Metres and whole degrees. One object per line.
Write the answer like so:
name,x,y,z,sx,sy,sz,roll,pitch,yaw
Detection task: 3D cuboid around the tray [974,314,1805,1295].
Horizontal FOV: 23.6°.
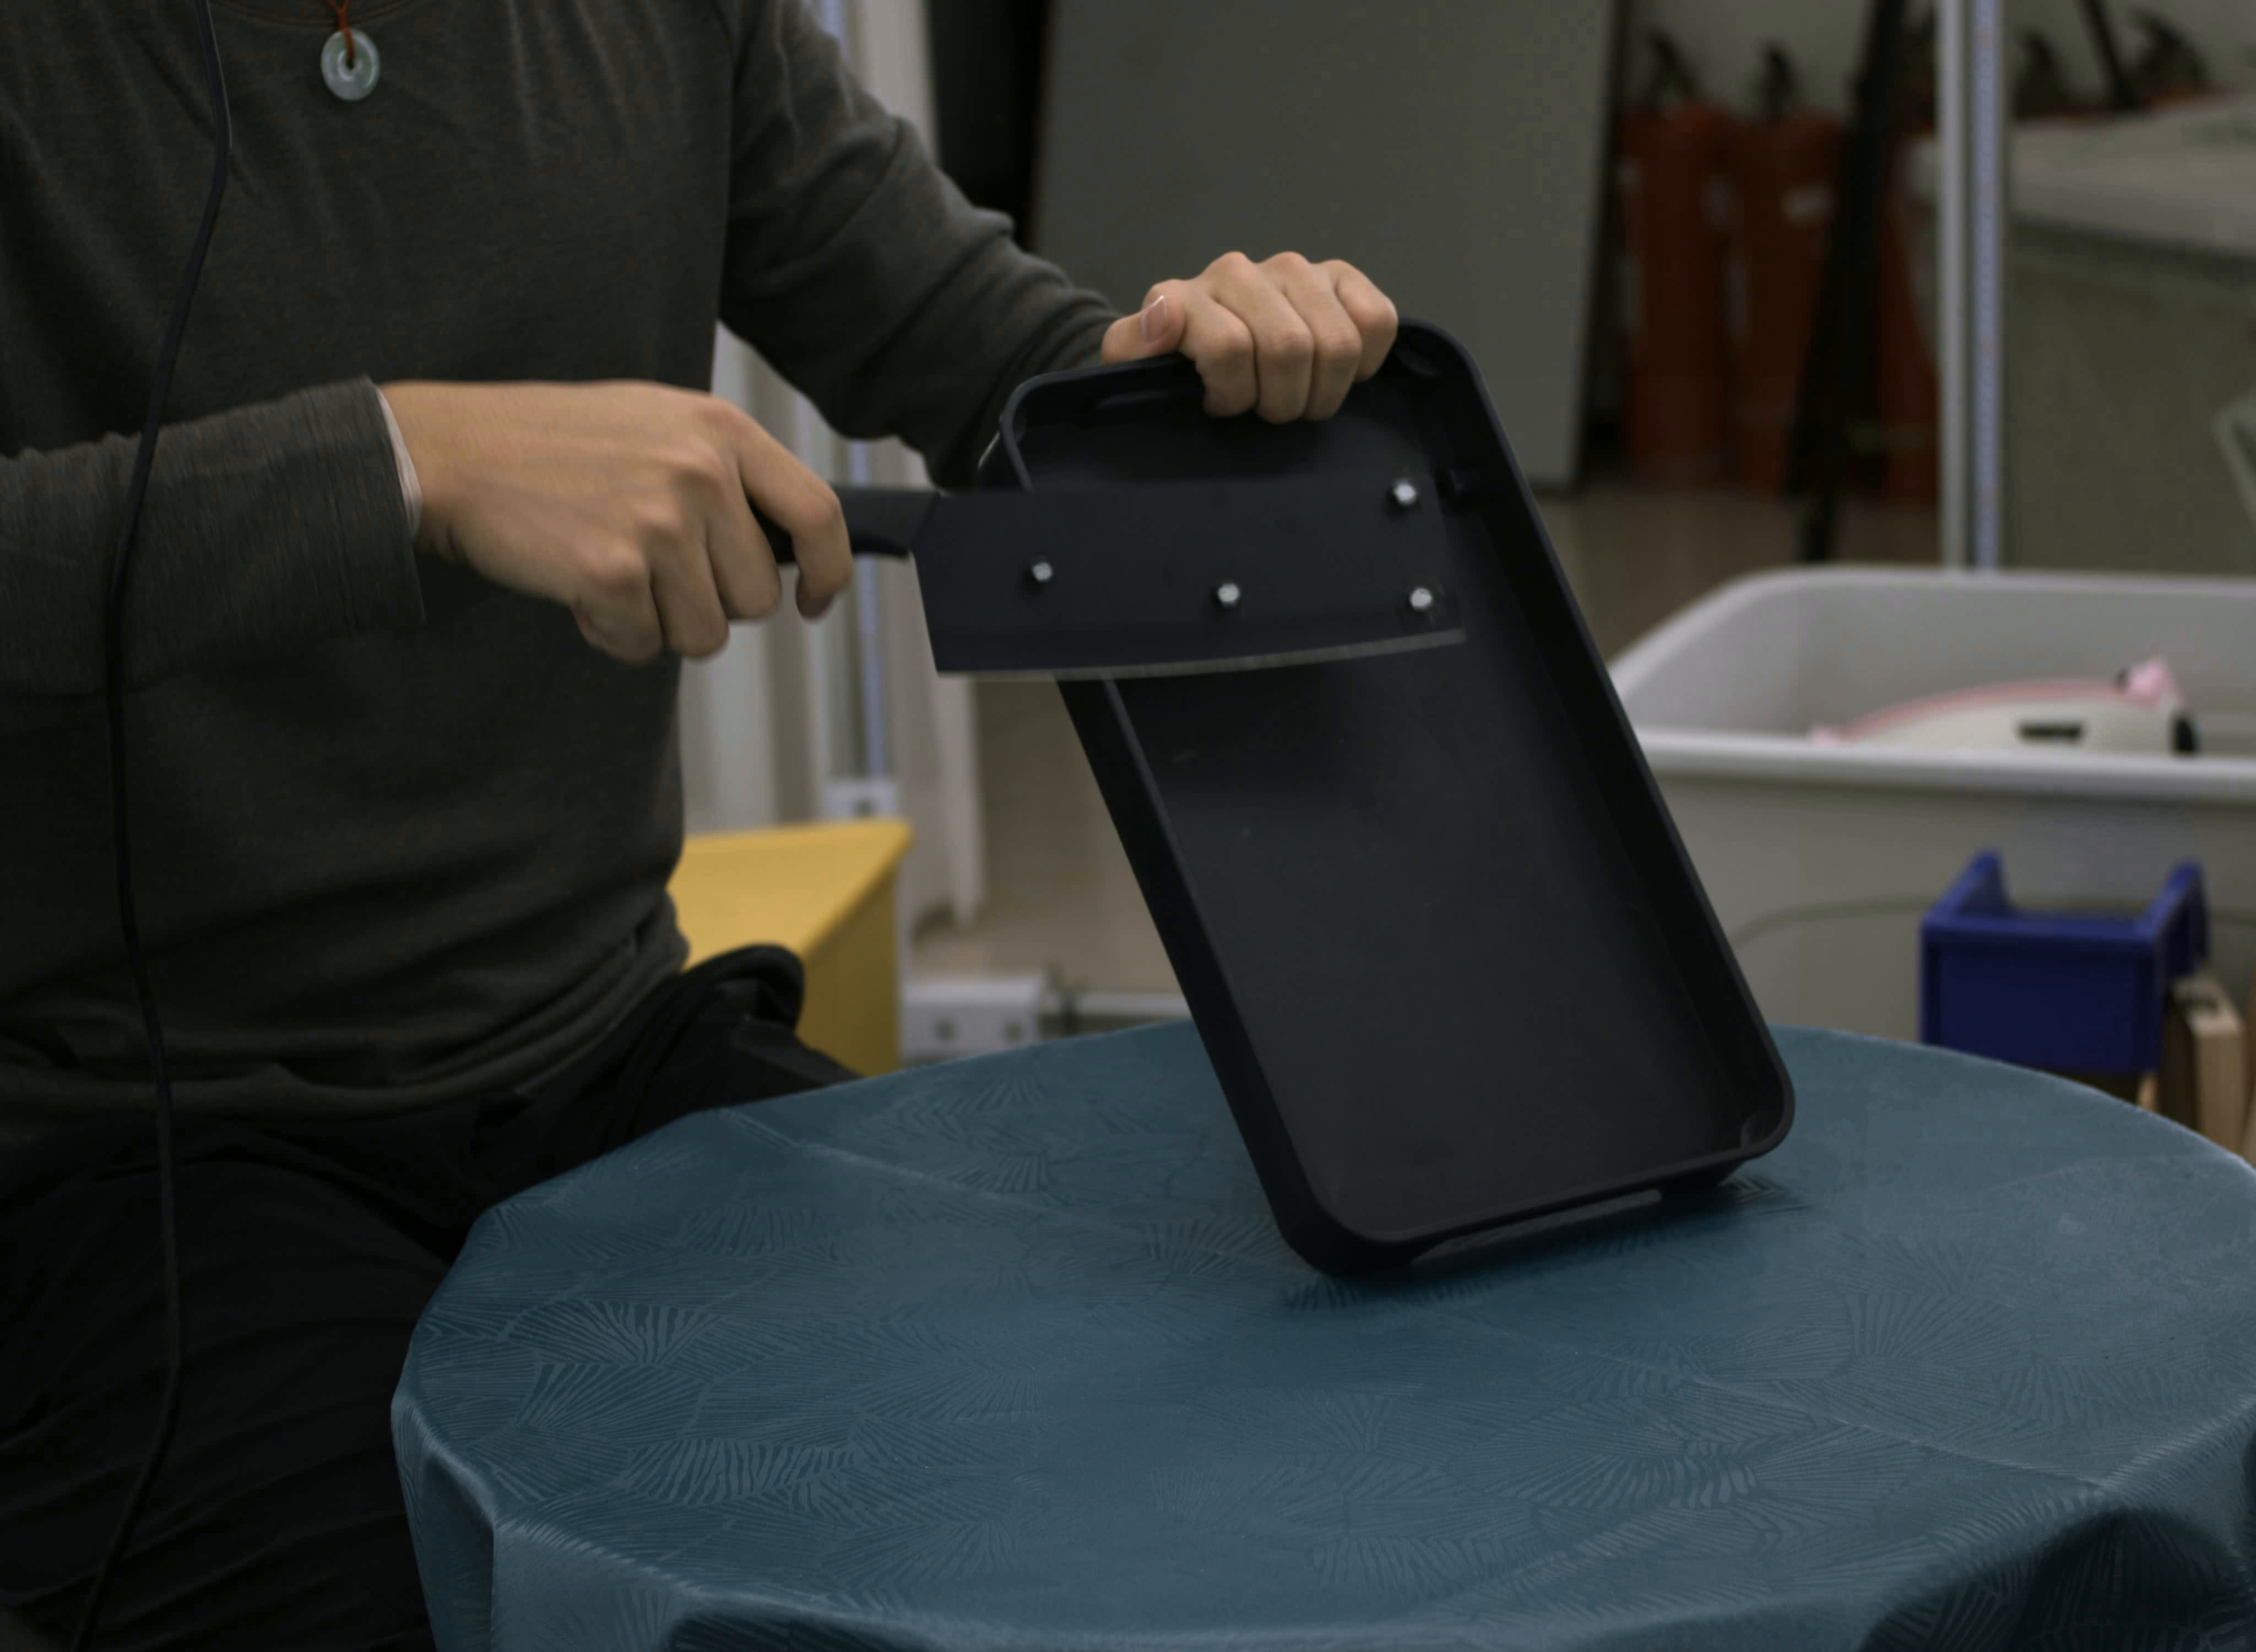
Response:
tray,0.081,-0.012,1.745,0.180,0.322,0.037,-13,-22,-28

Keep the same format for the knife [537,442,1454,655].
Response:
knife,-0.040,-0.089,1.722,0.296,0.082,0.021,0,-26,-13
